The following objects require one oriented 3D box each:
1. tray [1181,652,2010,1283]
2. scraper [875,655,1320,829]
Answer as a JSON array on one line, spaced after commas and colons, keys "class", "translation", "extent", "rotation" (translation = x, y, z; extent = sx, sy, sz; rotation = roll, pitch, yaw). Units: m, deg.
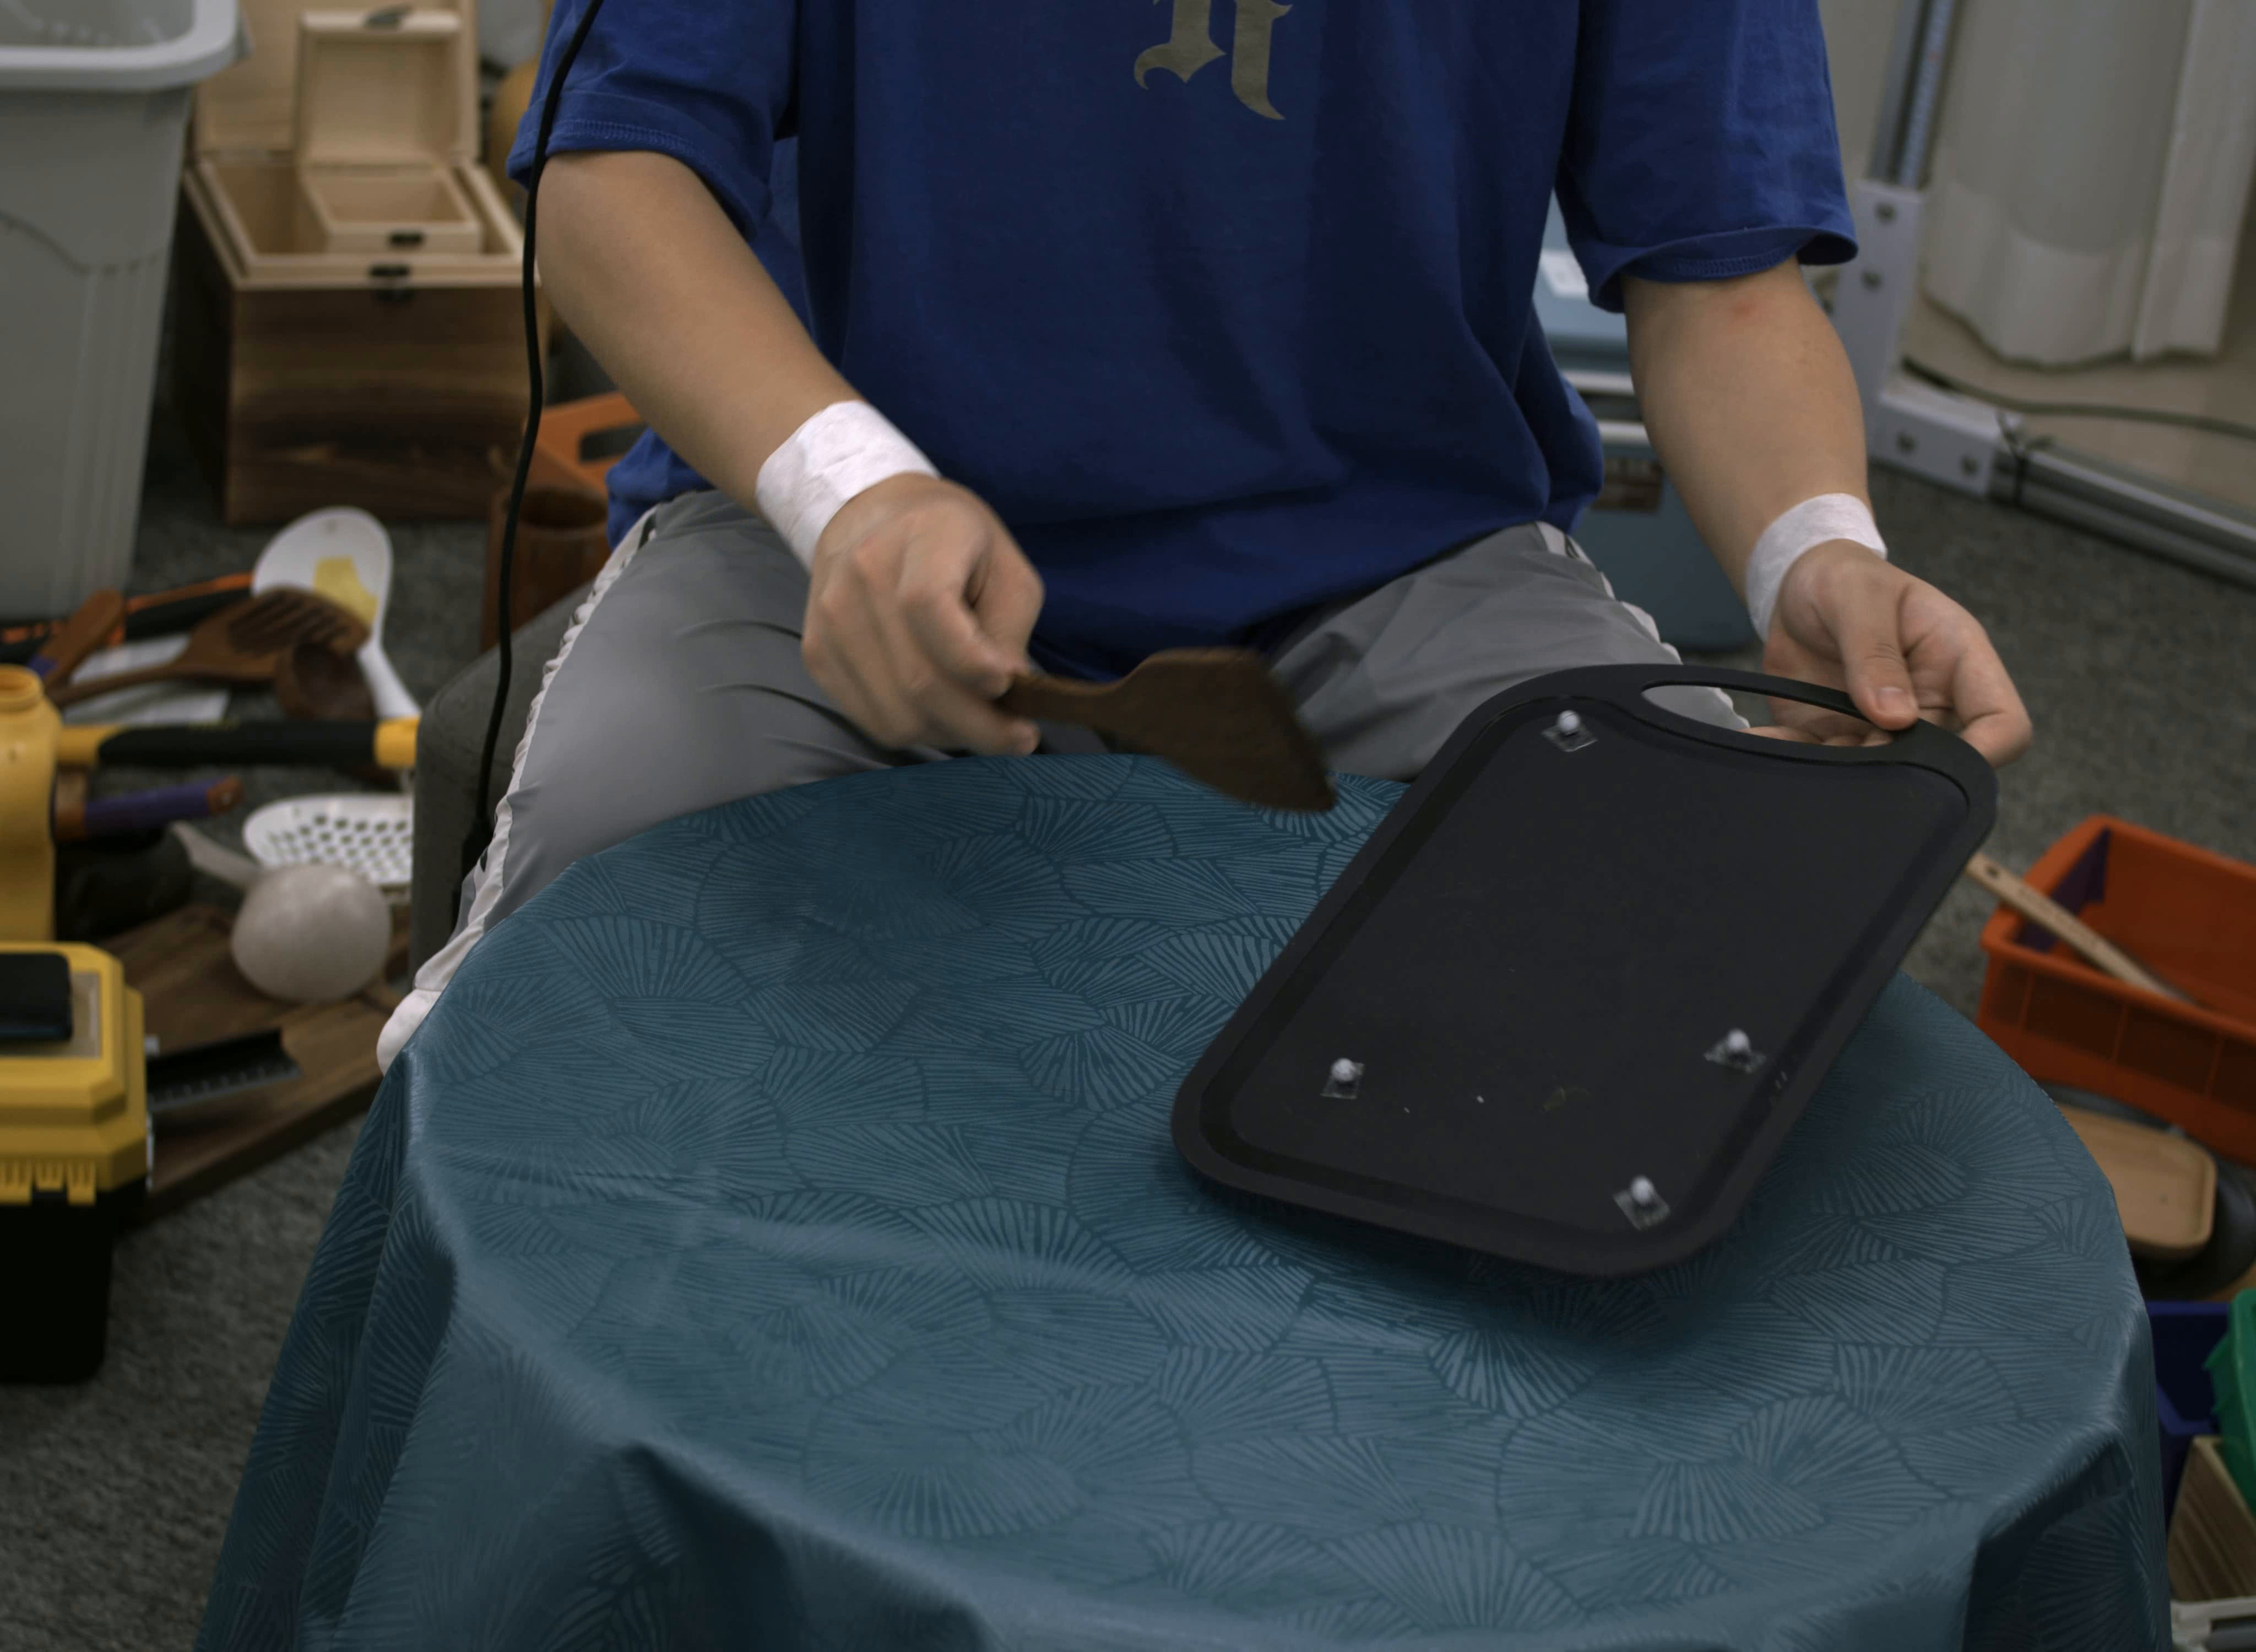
[{"class": "tray", "translation": [0.169, 0.037, 1.865], "extent": [0.212, 0.010, 0.326], "rotation": [13, 44, 29]}, {"class": "scraper", "translation": [-0.018, -0.038, 1.865], "extent": [0.212, 0.075, 0.011], "rotation": [12, 52, 48]}]
